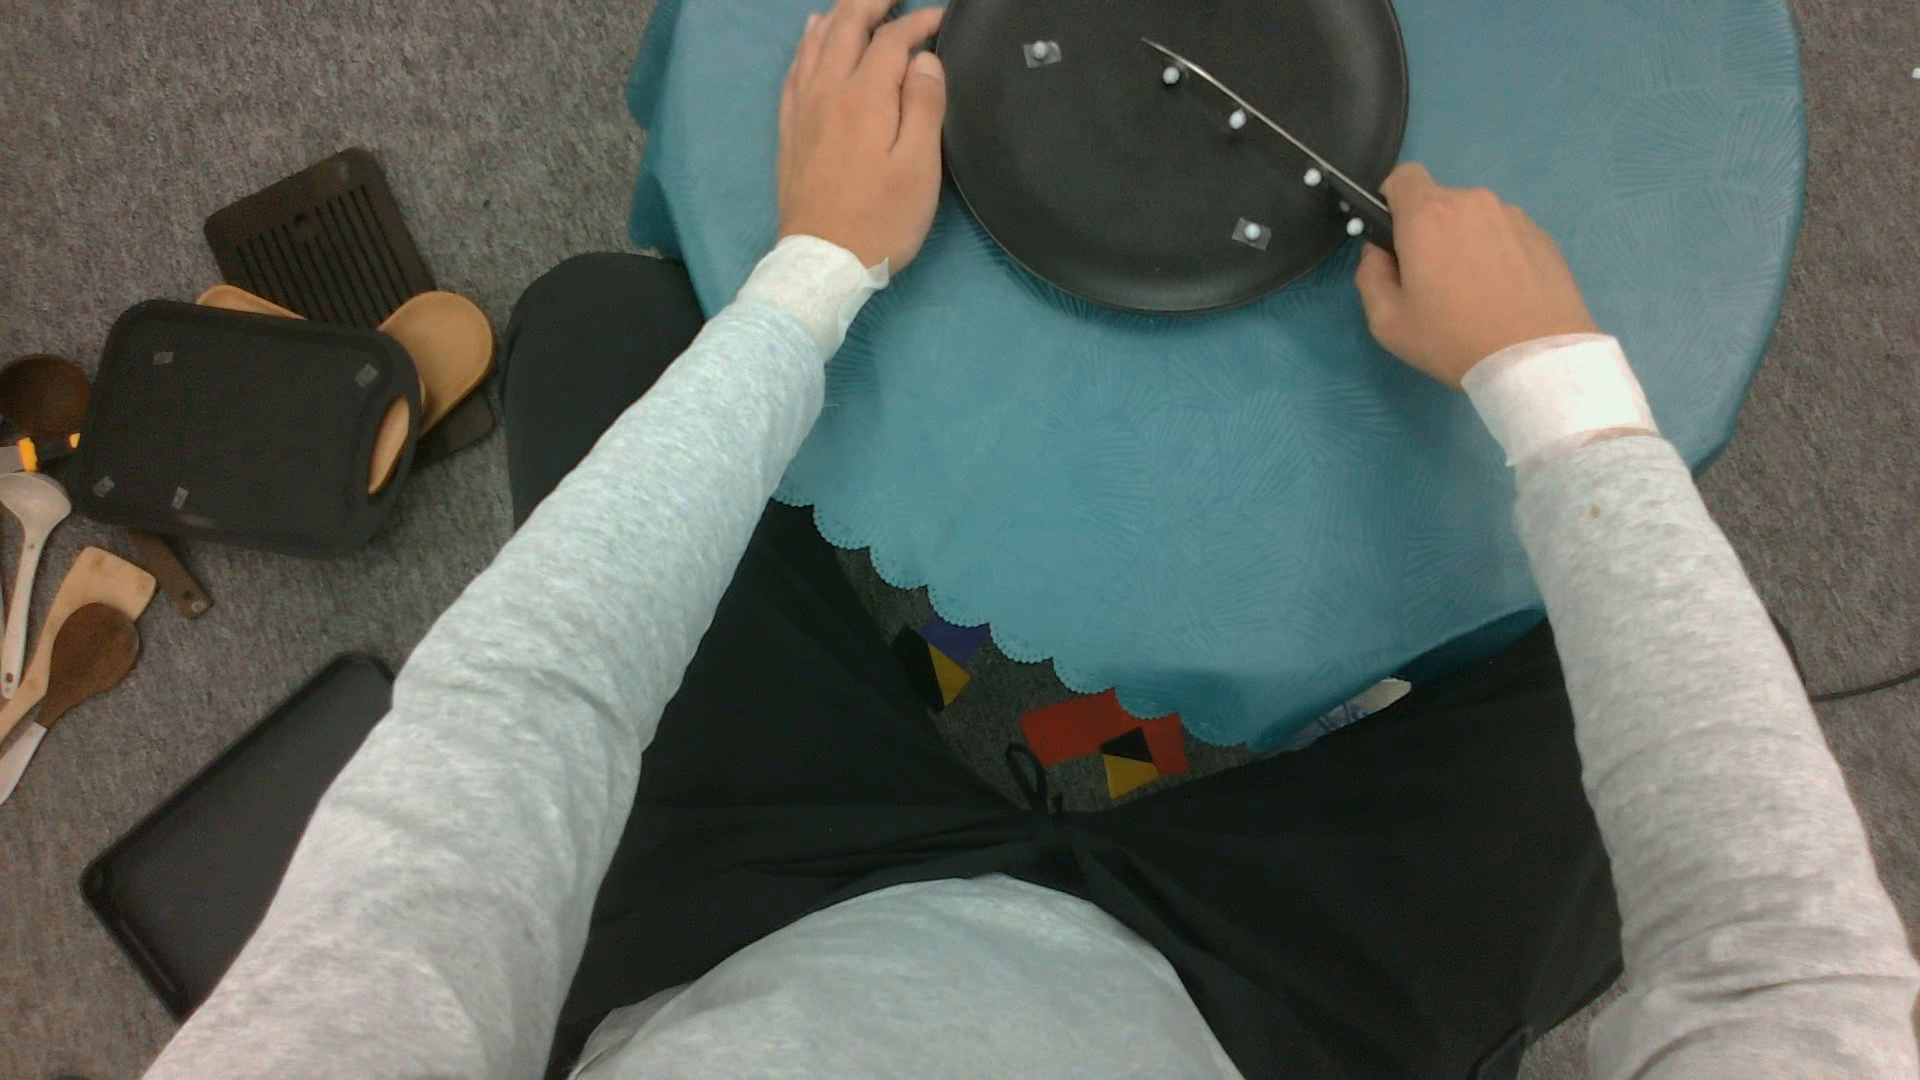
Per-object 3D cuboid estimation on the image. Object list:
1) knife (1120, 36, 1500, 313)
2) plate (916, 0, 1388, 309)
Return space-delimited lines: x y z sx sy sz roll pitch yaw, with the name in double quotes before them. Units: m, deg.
"knife" 0.171 -0.190 0.690 0.238 0.024 0.016 41 81 15
"plate" 0.099 -0.237 0.718 0.244 0.023 0.244 0 83 0
